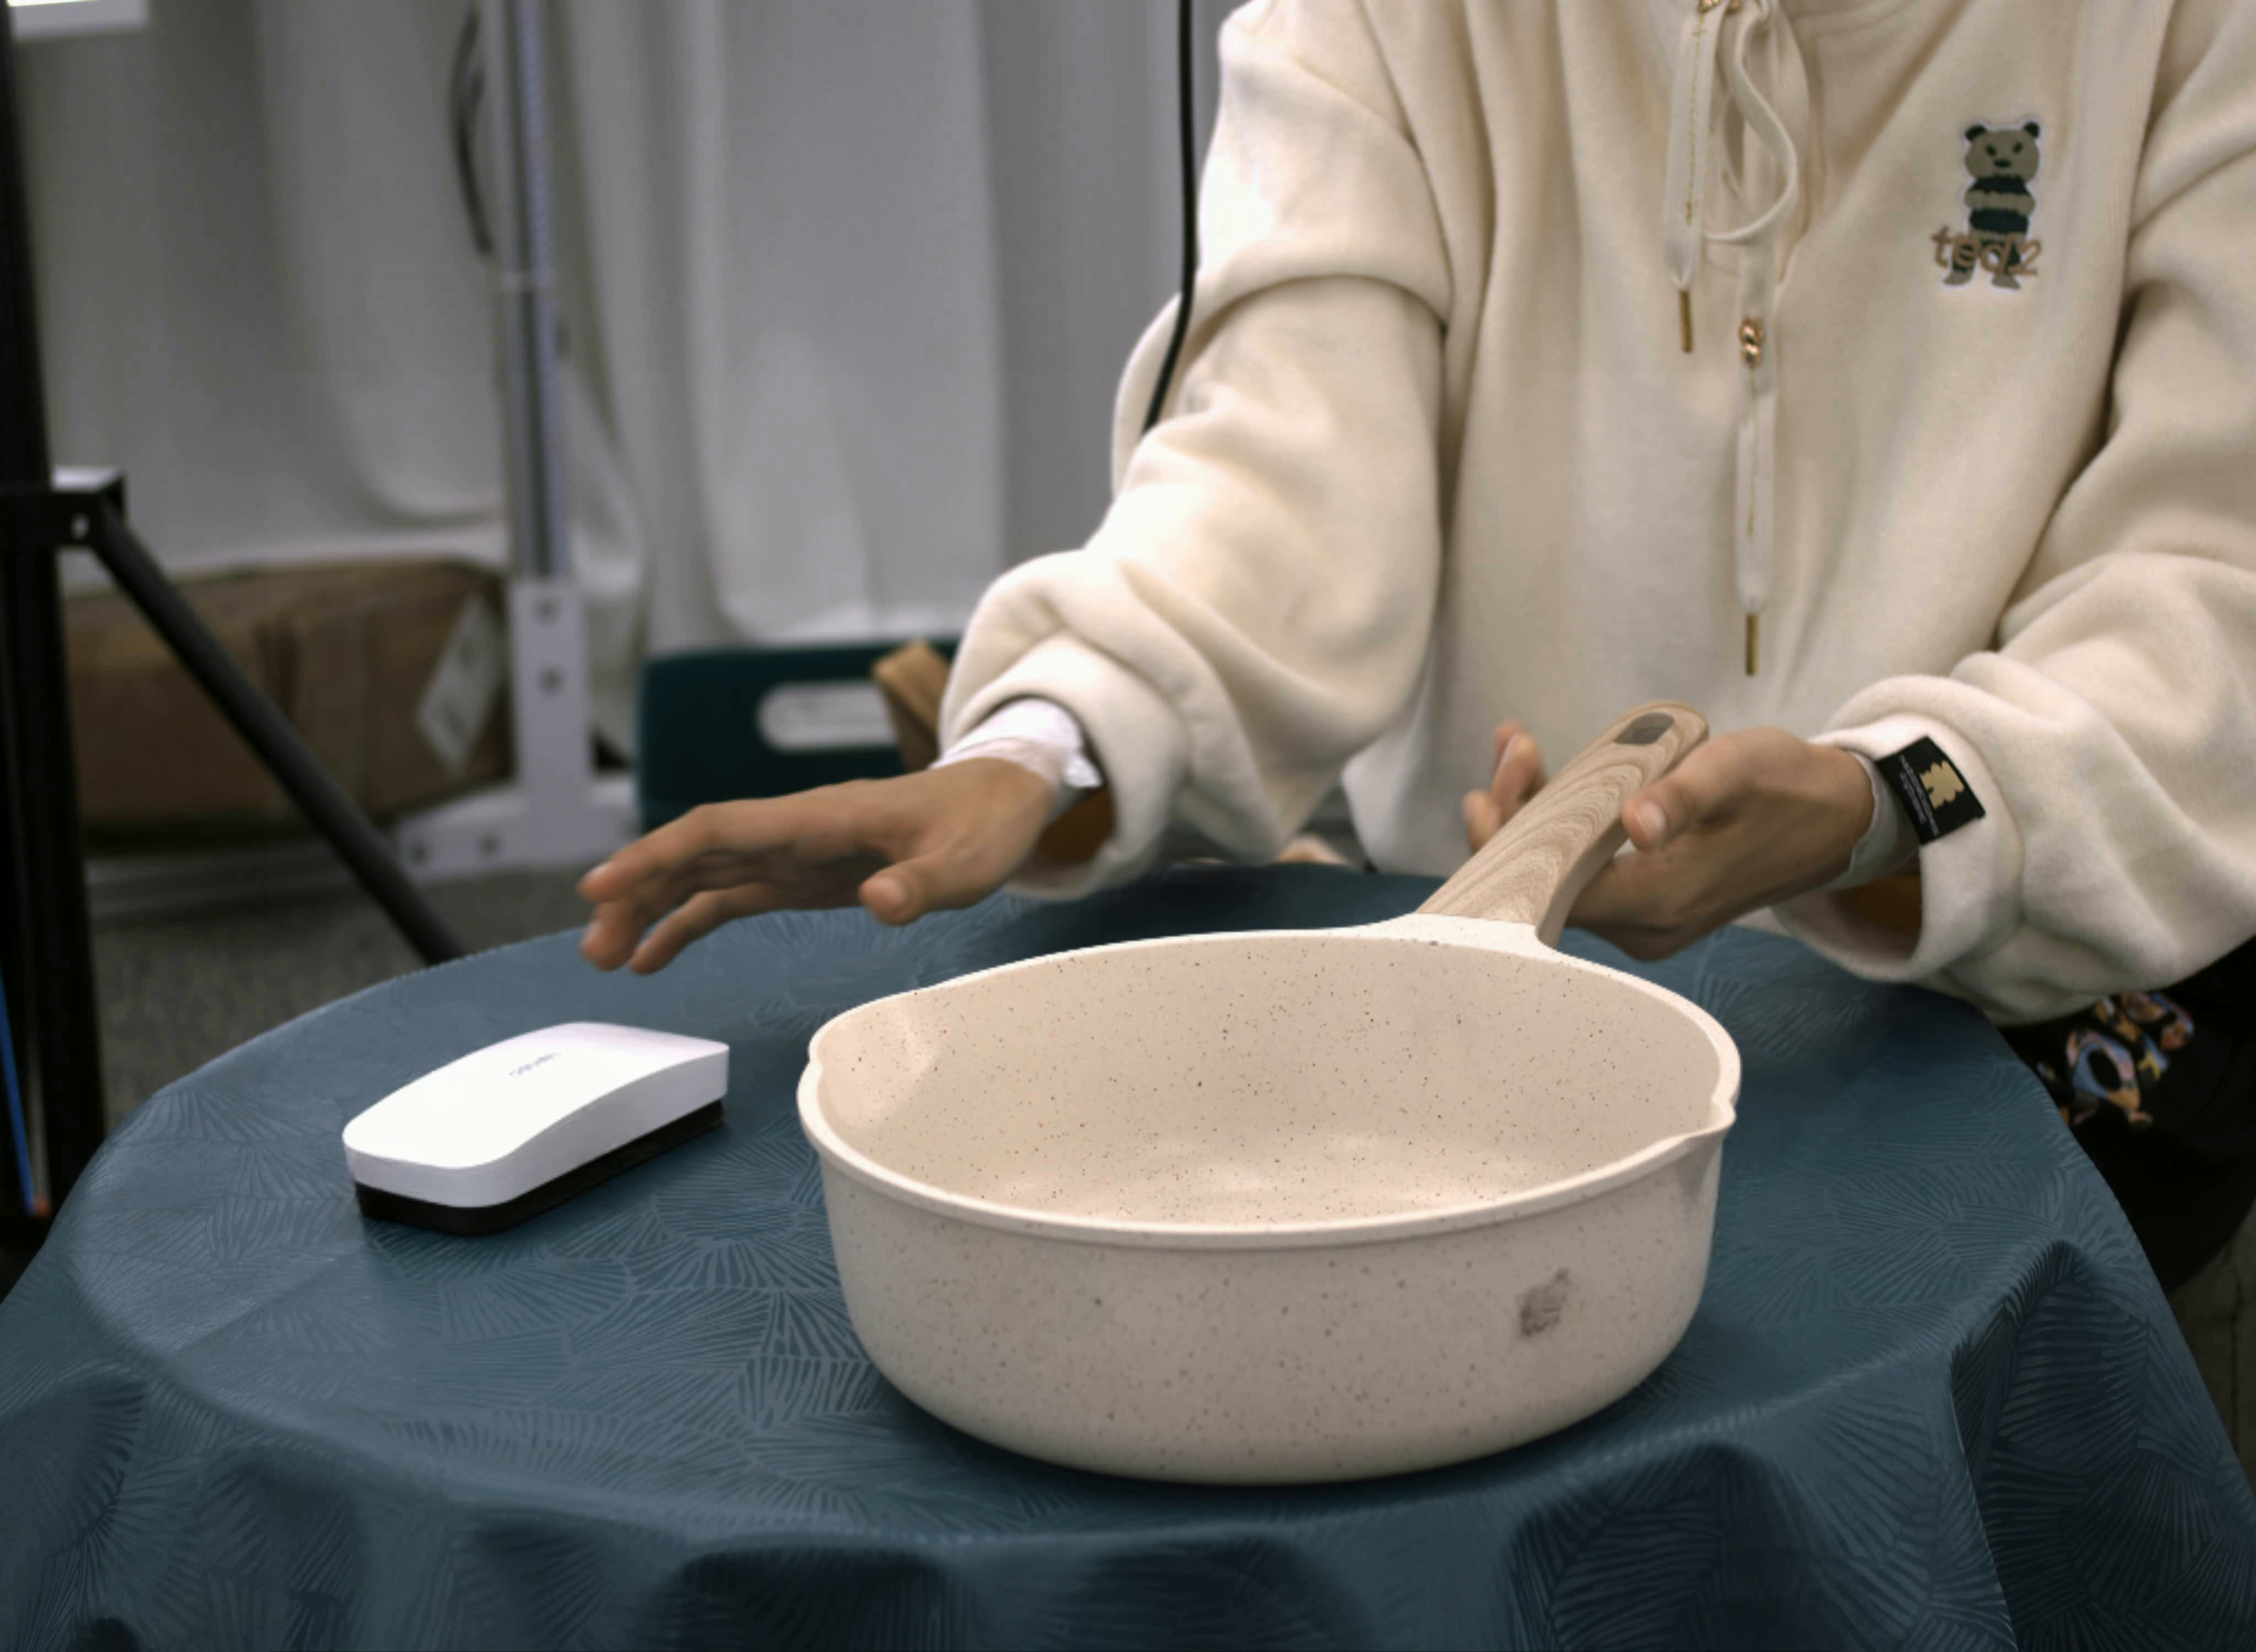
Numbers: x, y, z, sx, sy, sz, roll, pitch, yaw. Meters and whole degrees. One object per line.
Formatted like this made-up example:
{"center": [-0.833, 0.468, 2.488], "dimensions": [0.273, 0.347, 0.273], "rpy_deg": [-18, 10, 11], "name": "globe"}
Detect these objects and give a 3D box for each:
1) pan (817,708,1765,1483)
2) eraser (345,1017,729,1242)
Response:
{"center": [0.082, 0.070, 1.490], "dimensions": [0.267, 0.102, 0.428], "rpy_deg": [4, 17, 26], "name": "pan"}
{"center": [-0.175, 0.088, 1.603], "dimensions": [0.064, 0.034, 0.129], "rpy_deg": [11, 21, 31], "name": "eraser"}
